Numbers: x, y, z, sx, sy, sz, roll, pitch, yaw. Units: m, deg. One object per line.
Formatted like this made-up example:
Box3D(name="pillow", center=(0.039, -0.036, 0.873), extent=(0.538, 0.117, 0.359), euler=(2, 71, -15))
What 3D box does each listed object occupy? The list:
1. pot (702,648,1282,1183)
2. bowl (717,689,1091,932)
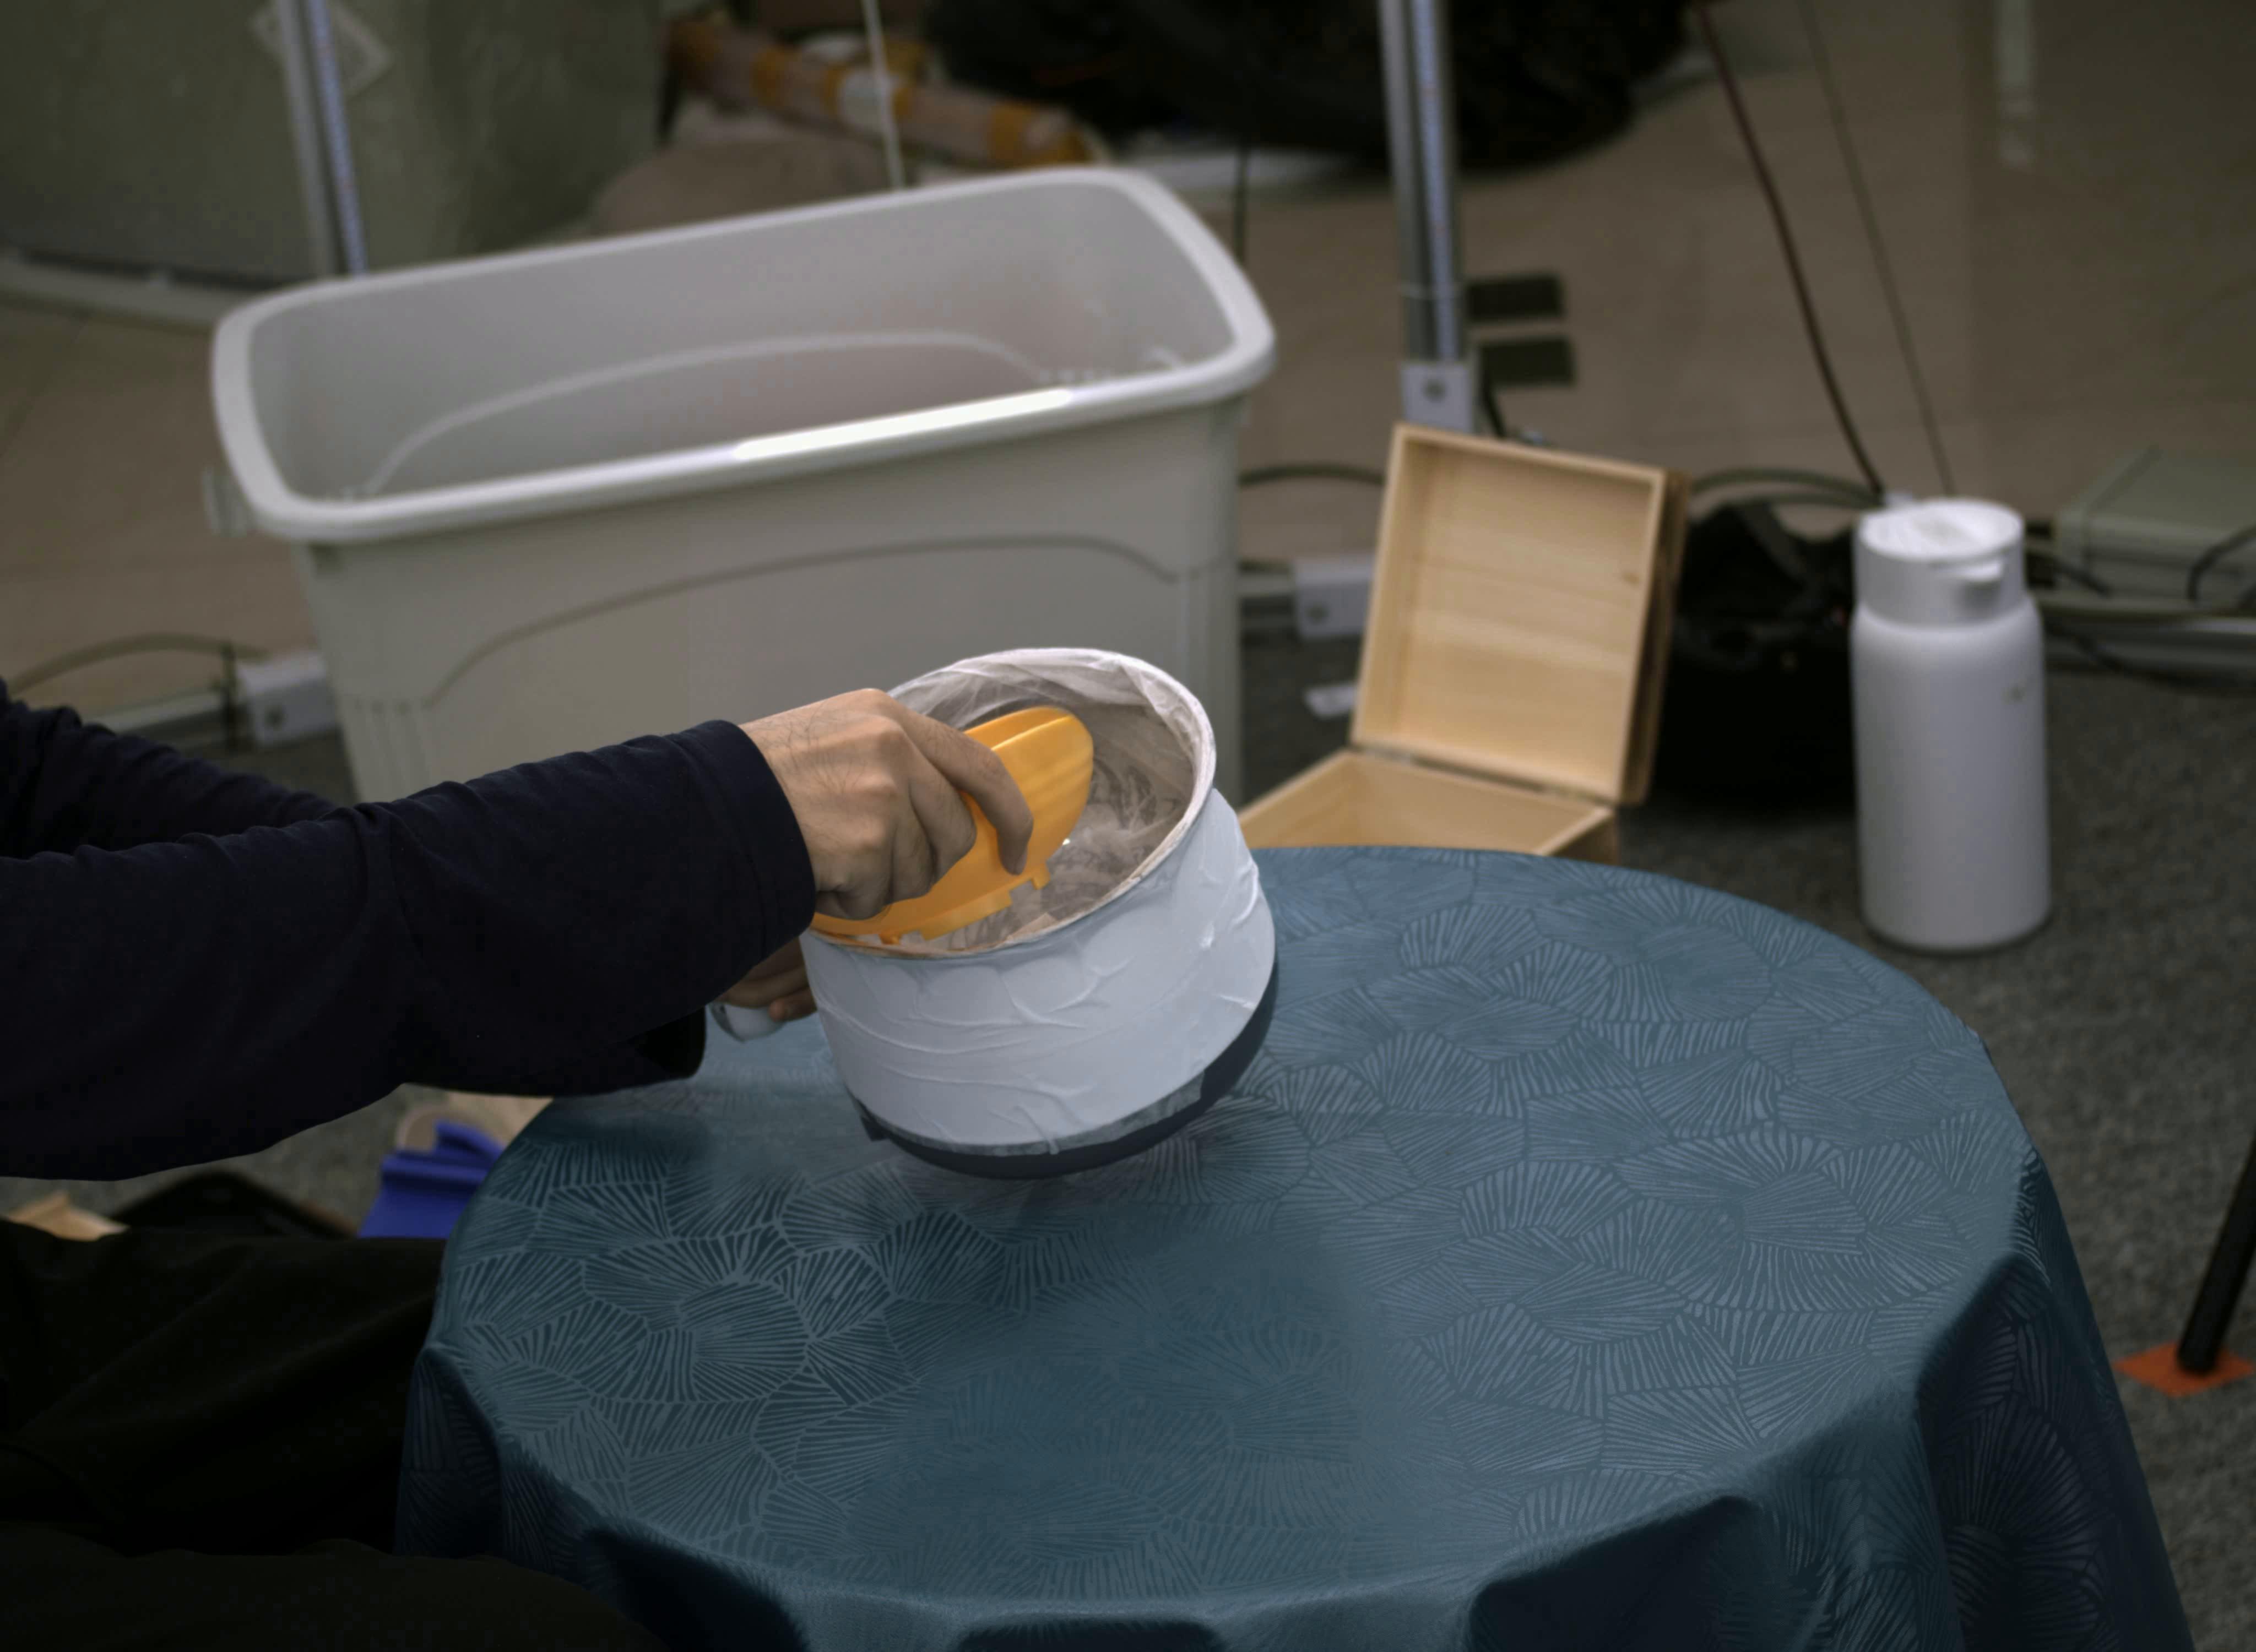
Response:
Box3D(name="pot", center=(-0.062, 0.039, 2.168), extent=(0.233, 0.139, 0.175), euler=(-2, 42, 22))
Box3D(name="bowl", center=(-0.073, 0.001, 2.076), extent=(0.145, 0.060, 0.145), euler=(-19, 4, 2))
